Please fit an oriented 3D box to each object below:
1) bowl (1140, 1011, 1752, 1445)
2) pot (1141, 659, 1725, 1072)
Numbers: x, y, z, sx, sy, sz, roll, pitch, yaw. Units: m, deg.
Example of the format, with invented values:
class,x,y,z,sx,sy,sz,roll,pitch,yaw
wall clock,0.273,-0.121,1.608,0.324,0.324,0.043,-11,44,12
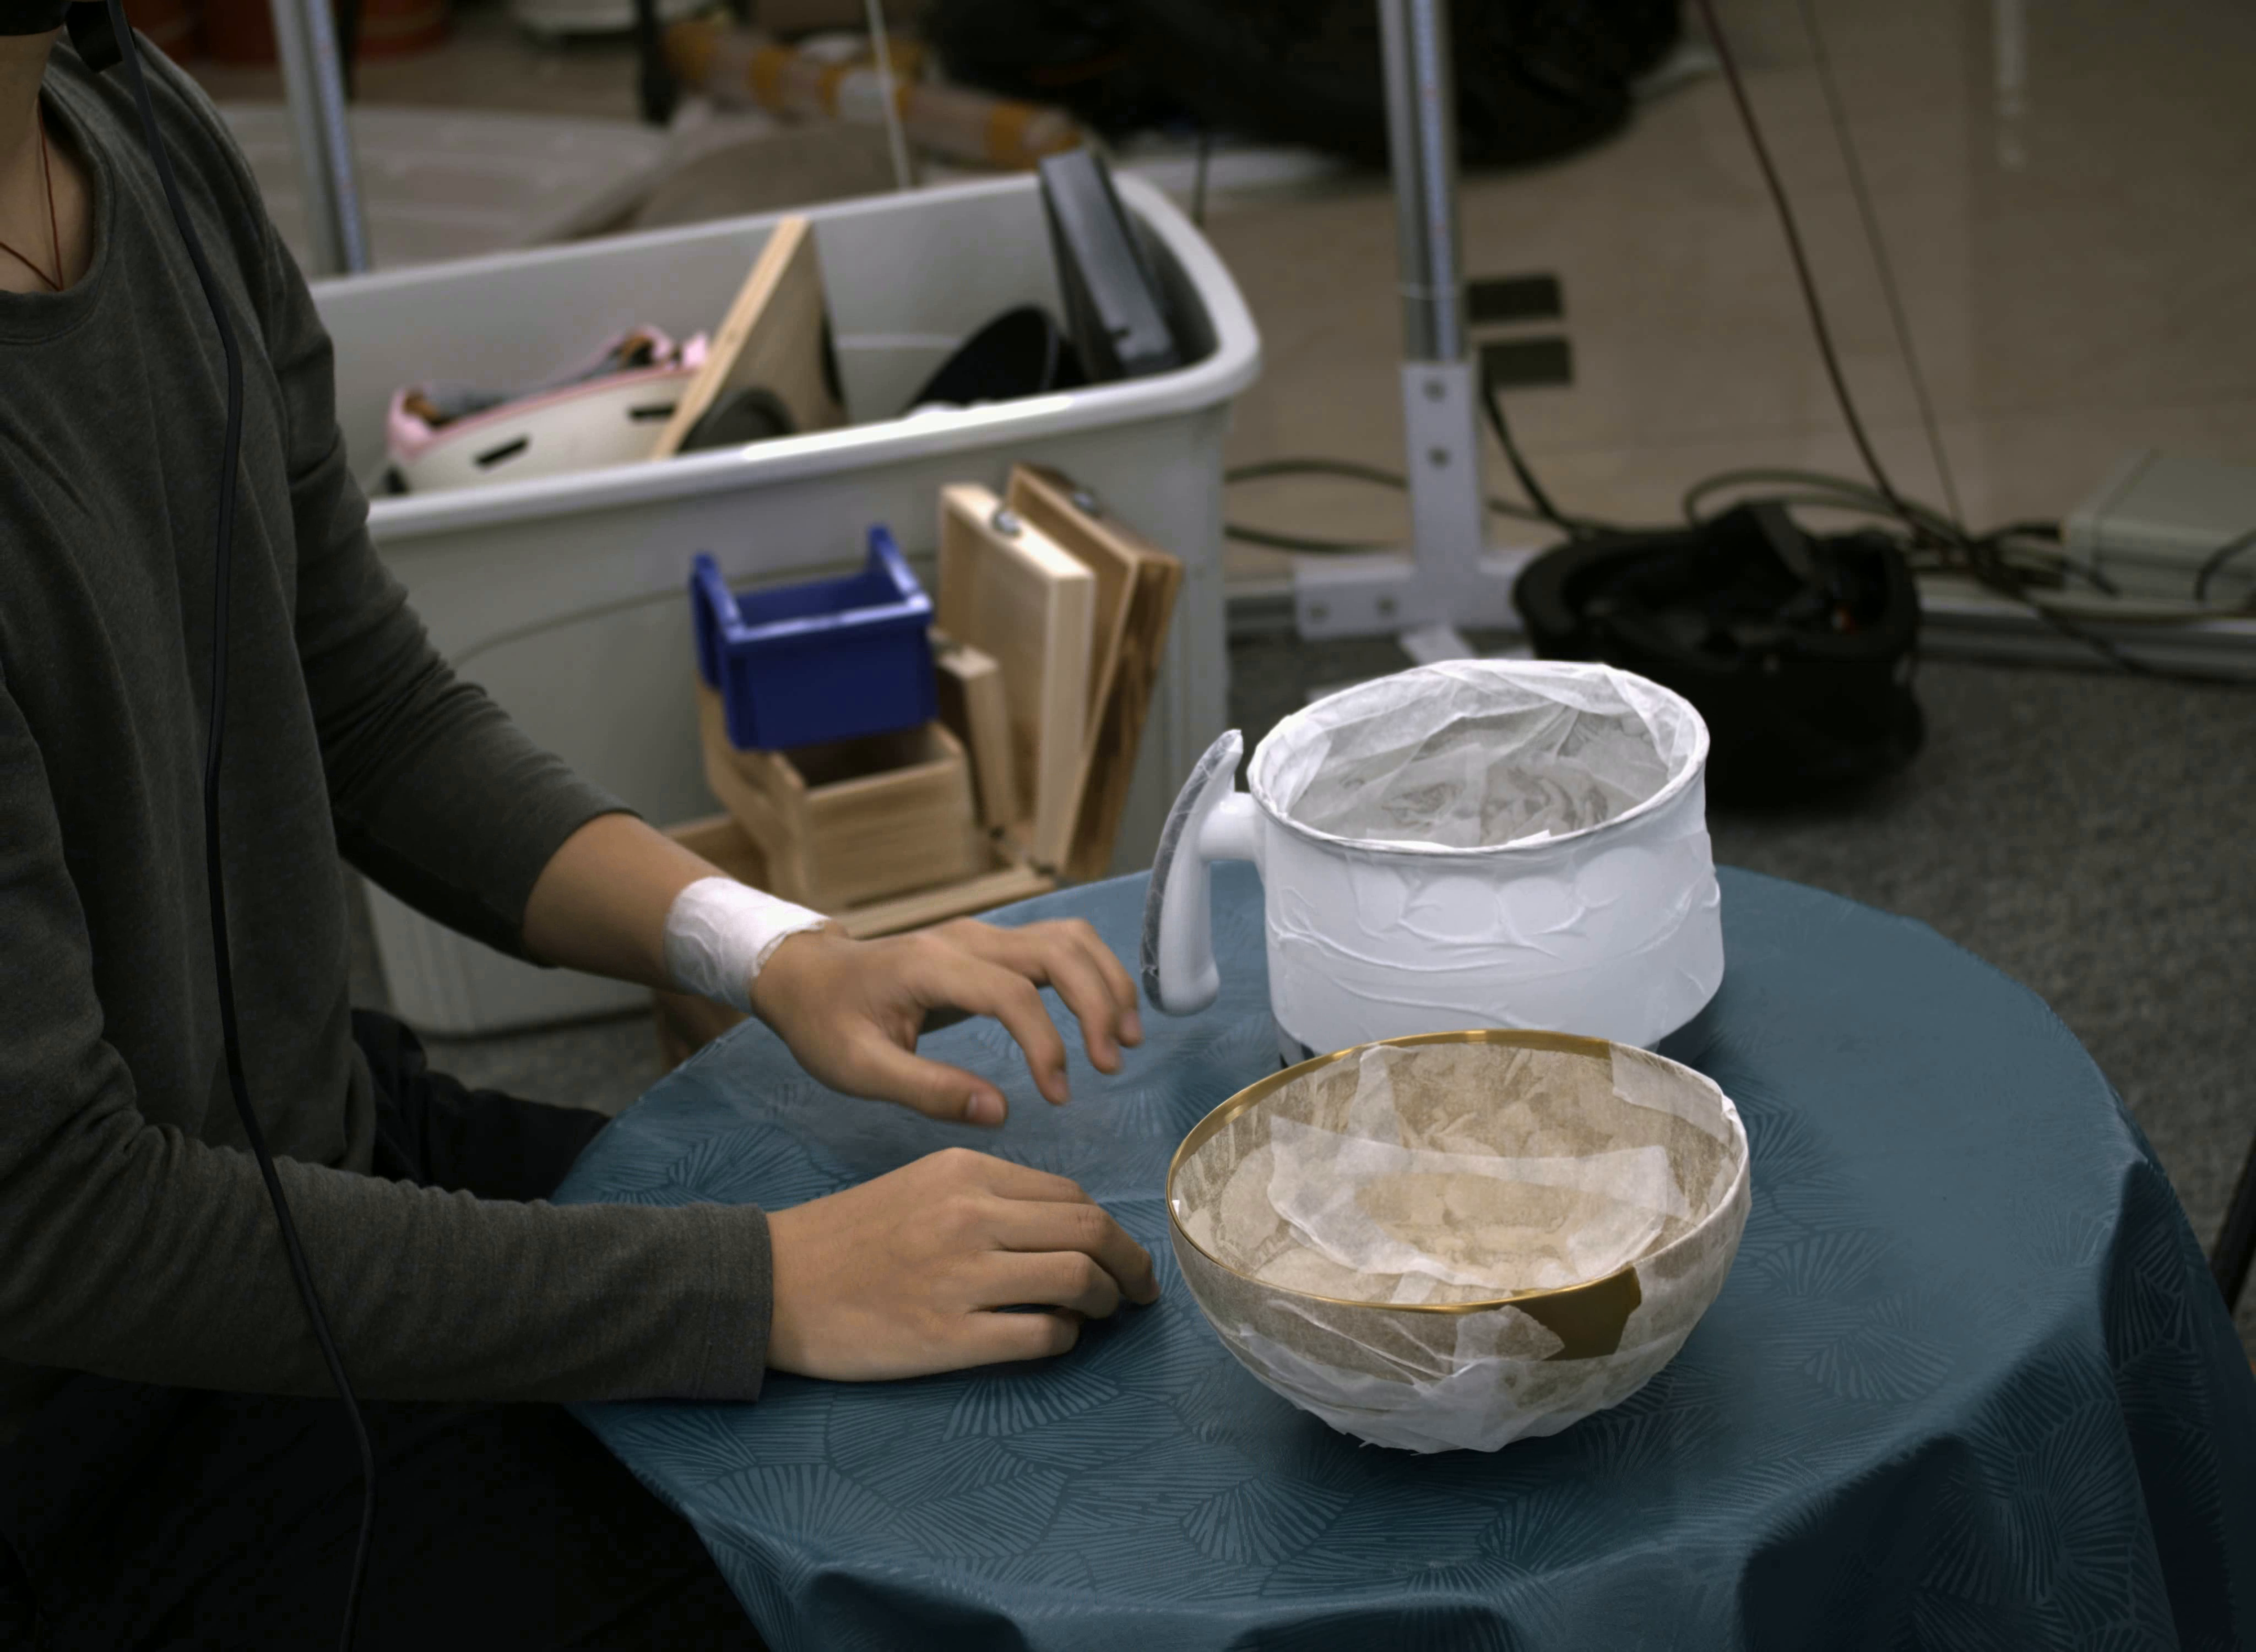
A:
class,x,y,z,sx,sy,sz,roll,pitch,yaw
bowl,0.114,0.153,1.978,0.214,0.096,0.211,-6,27,3
pot,0.114,0.028,2.197,0.233,0.139,0.176,2,26,18
